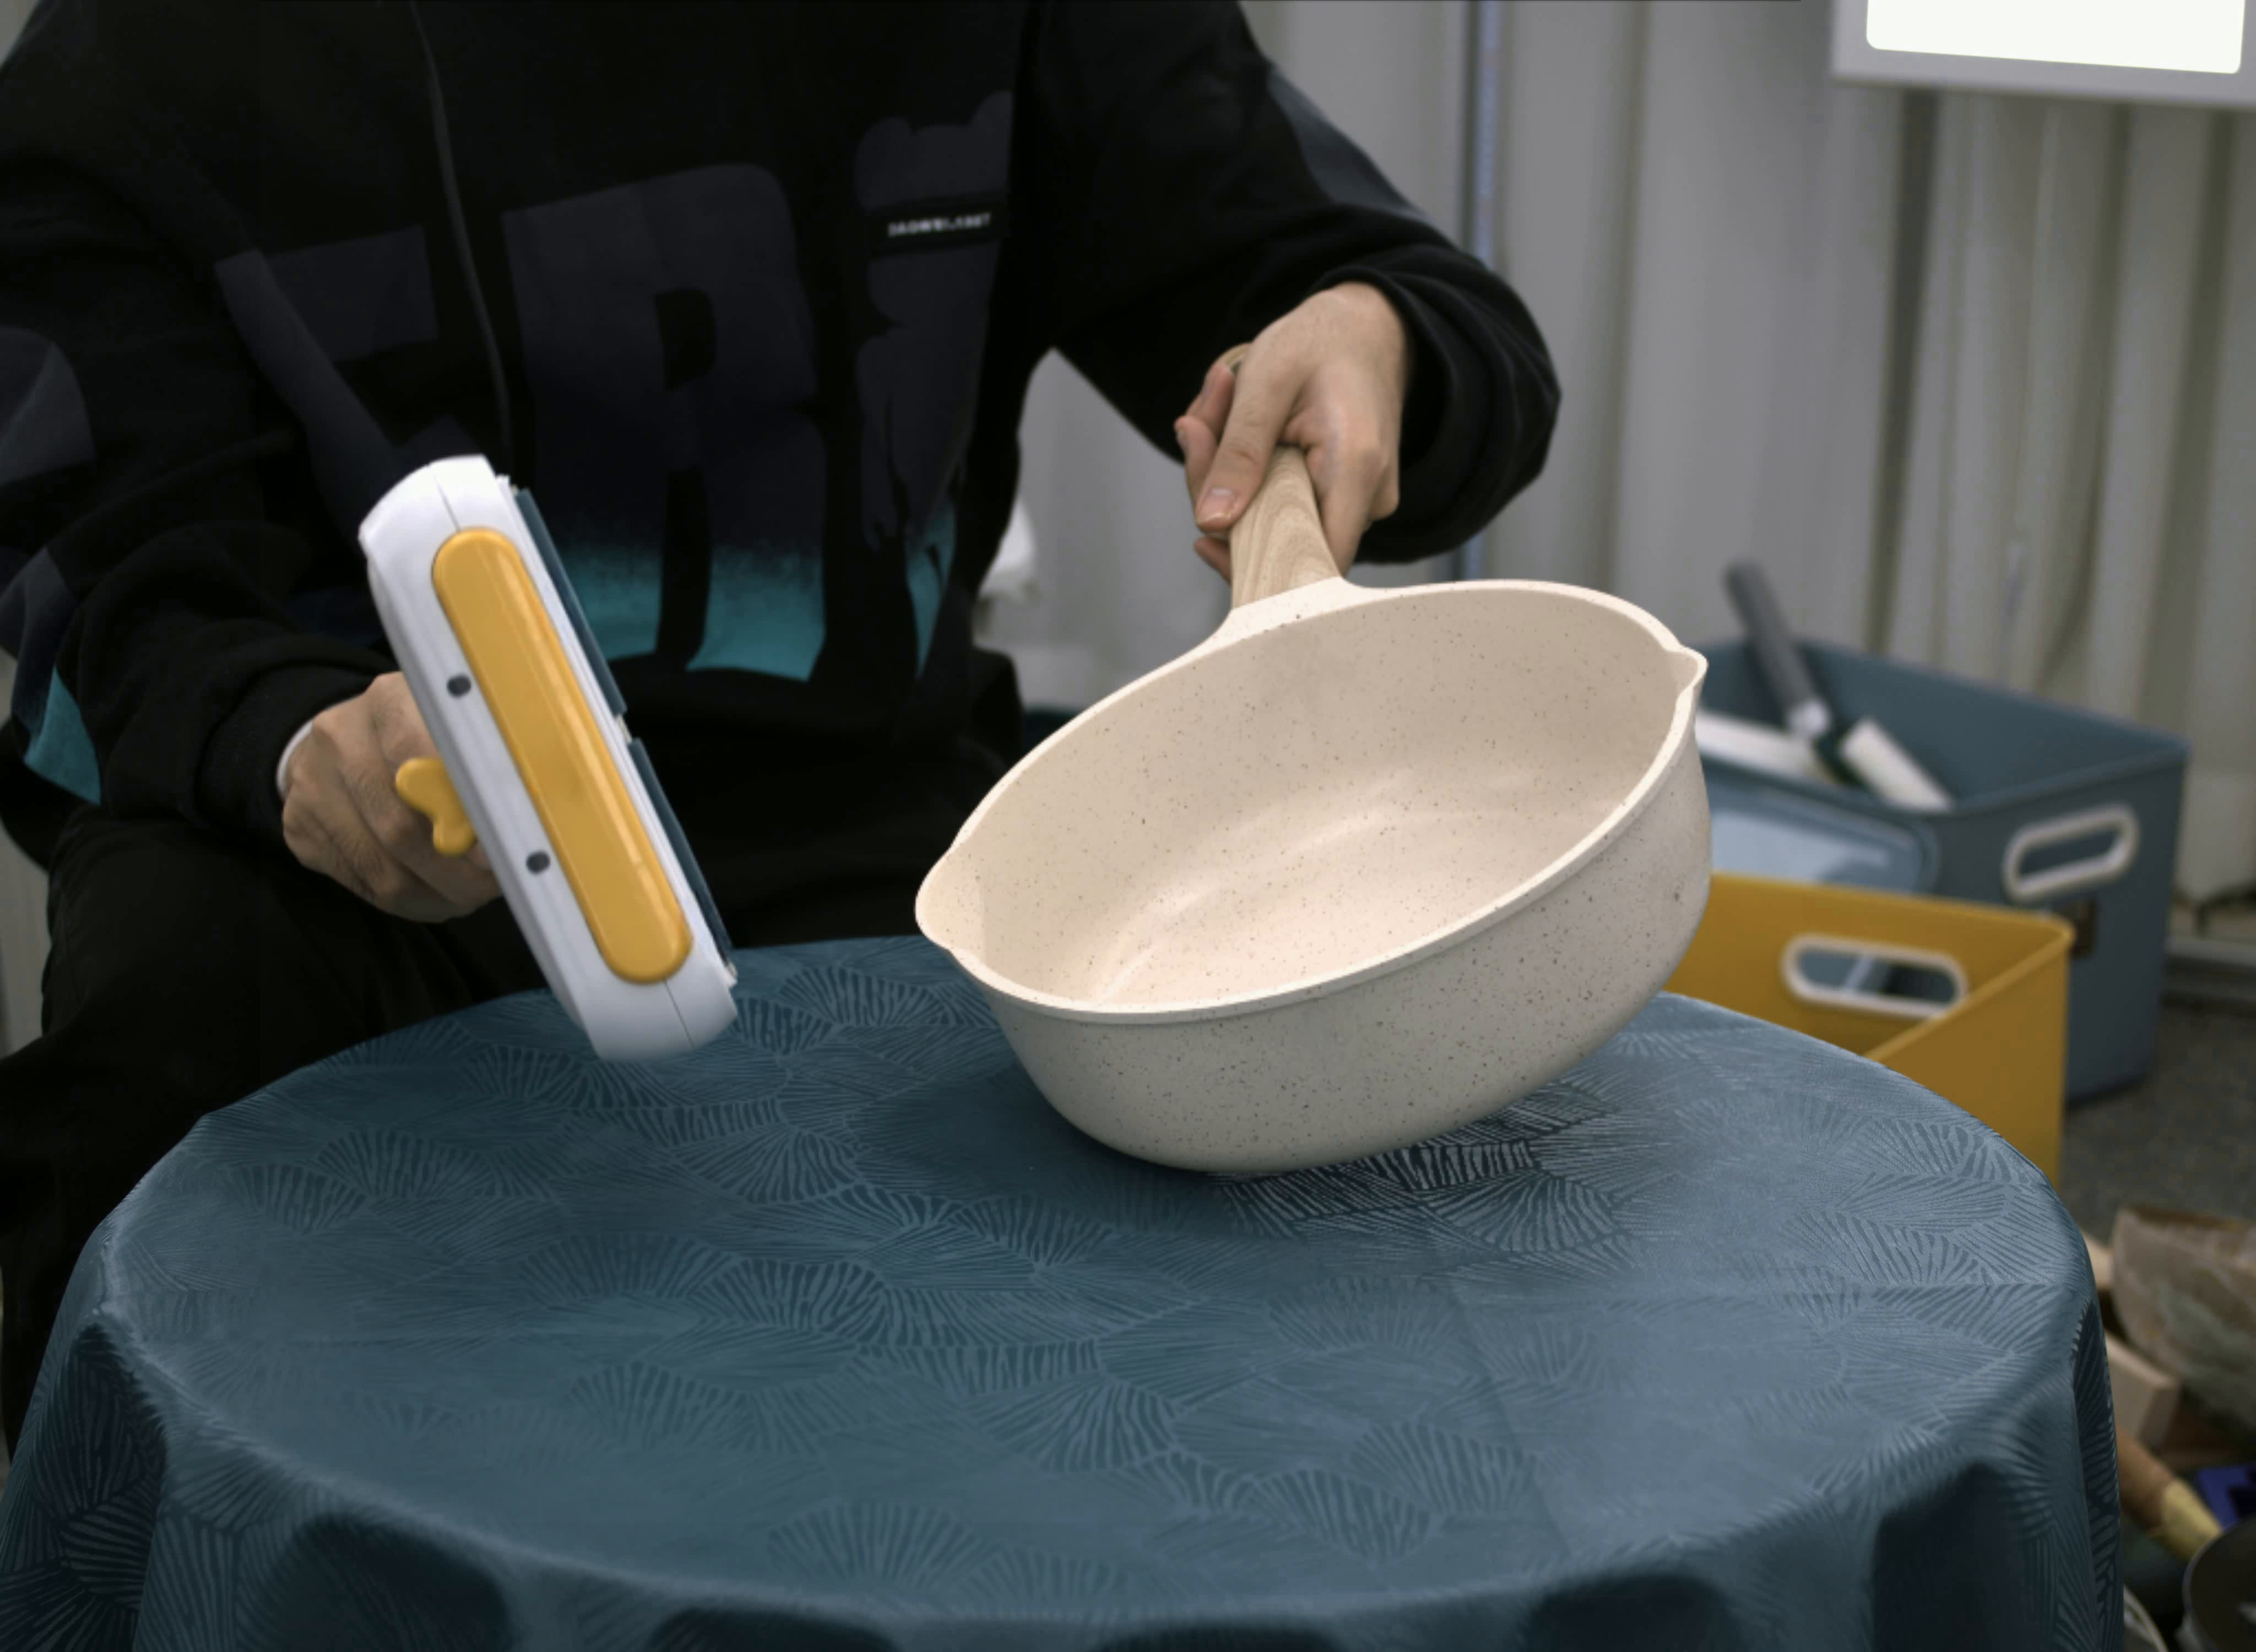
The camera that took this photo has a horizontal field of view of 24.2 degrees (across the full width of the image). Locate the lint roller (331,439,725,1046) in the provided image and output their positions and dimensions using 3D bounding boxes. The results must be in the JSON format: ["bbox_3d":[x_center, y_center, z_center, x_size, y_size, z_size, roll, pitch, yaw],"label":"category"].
[{"bbox_3d":[-0.197,-0.013,1.630,0.074,0.193,0.192,-30,0,-15],"label":"lint roller"}]

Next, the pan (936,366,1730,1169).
[{"bbox_3d":[0.069,-0.029,1.755,0.262,0.103,0.431,-20,26,7],"label":"pan"}]
